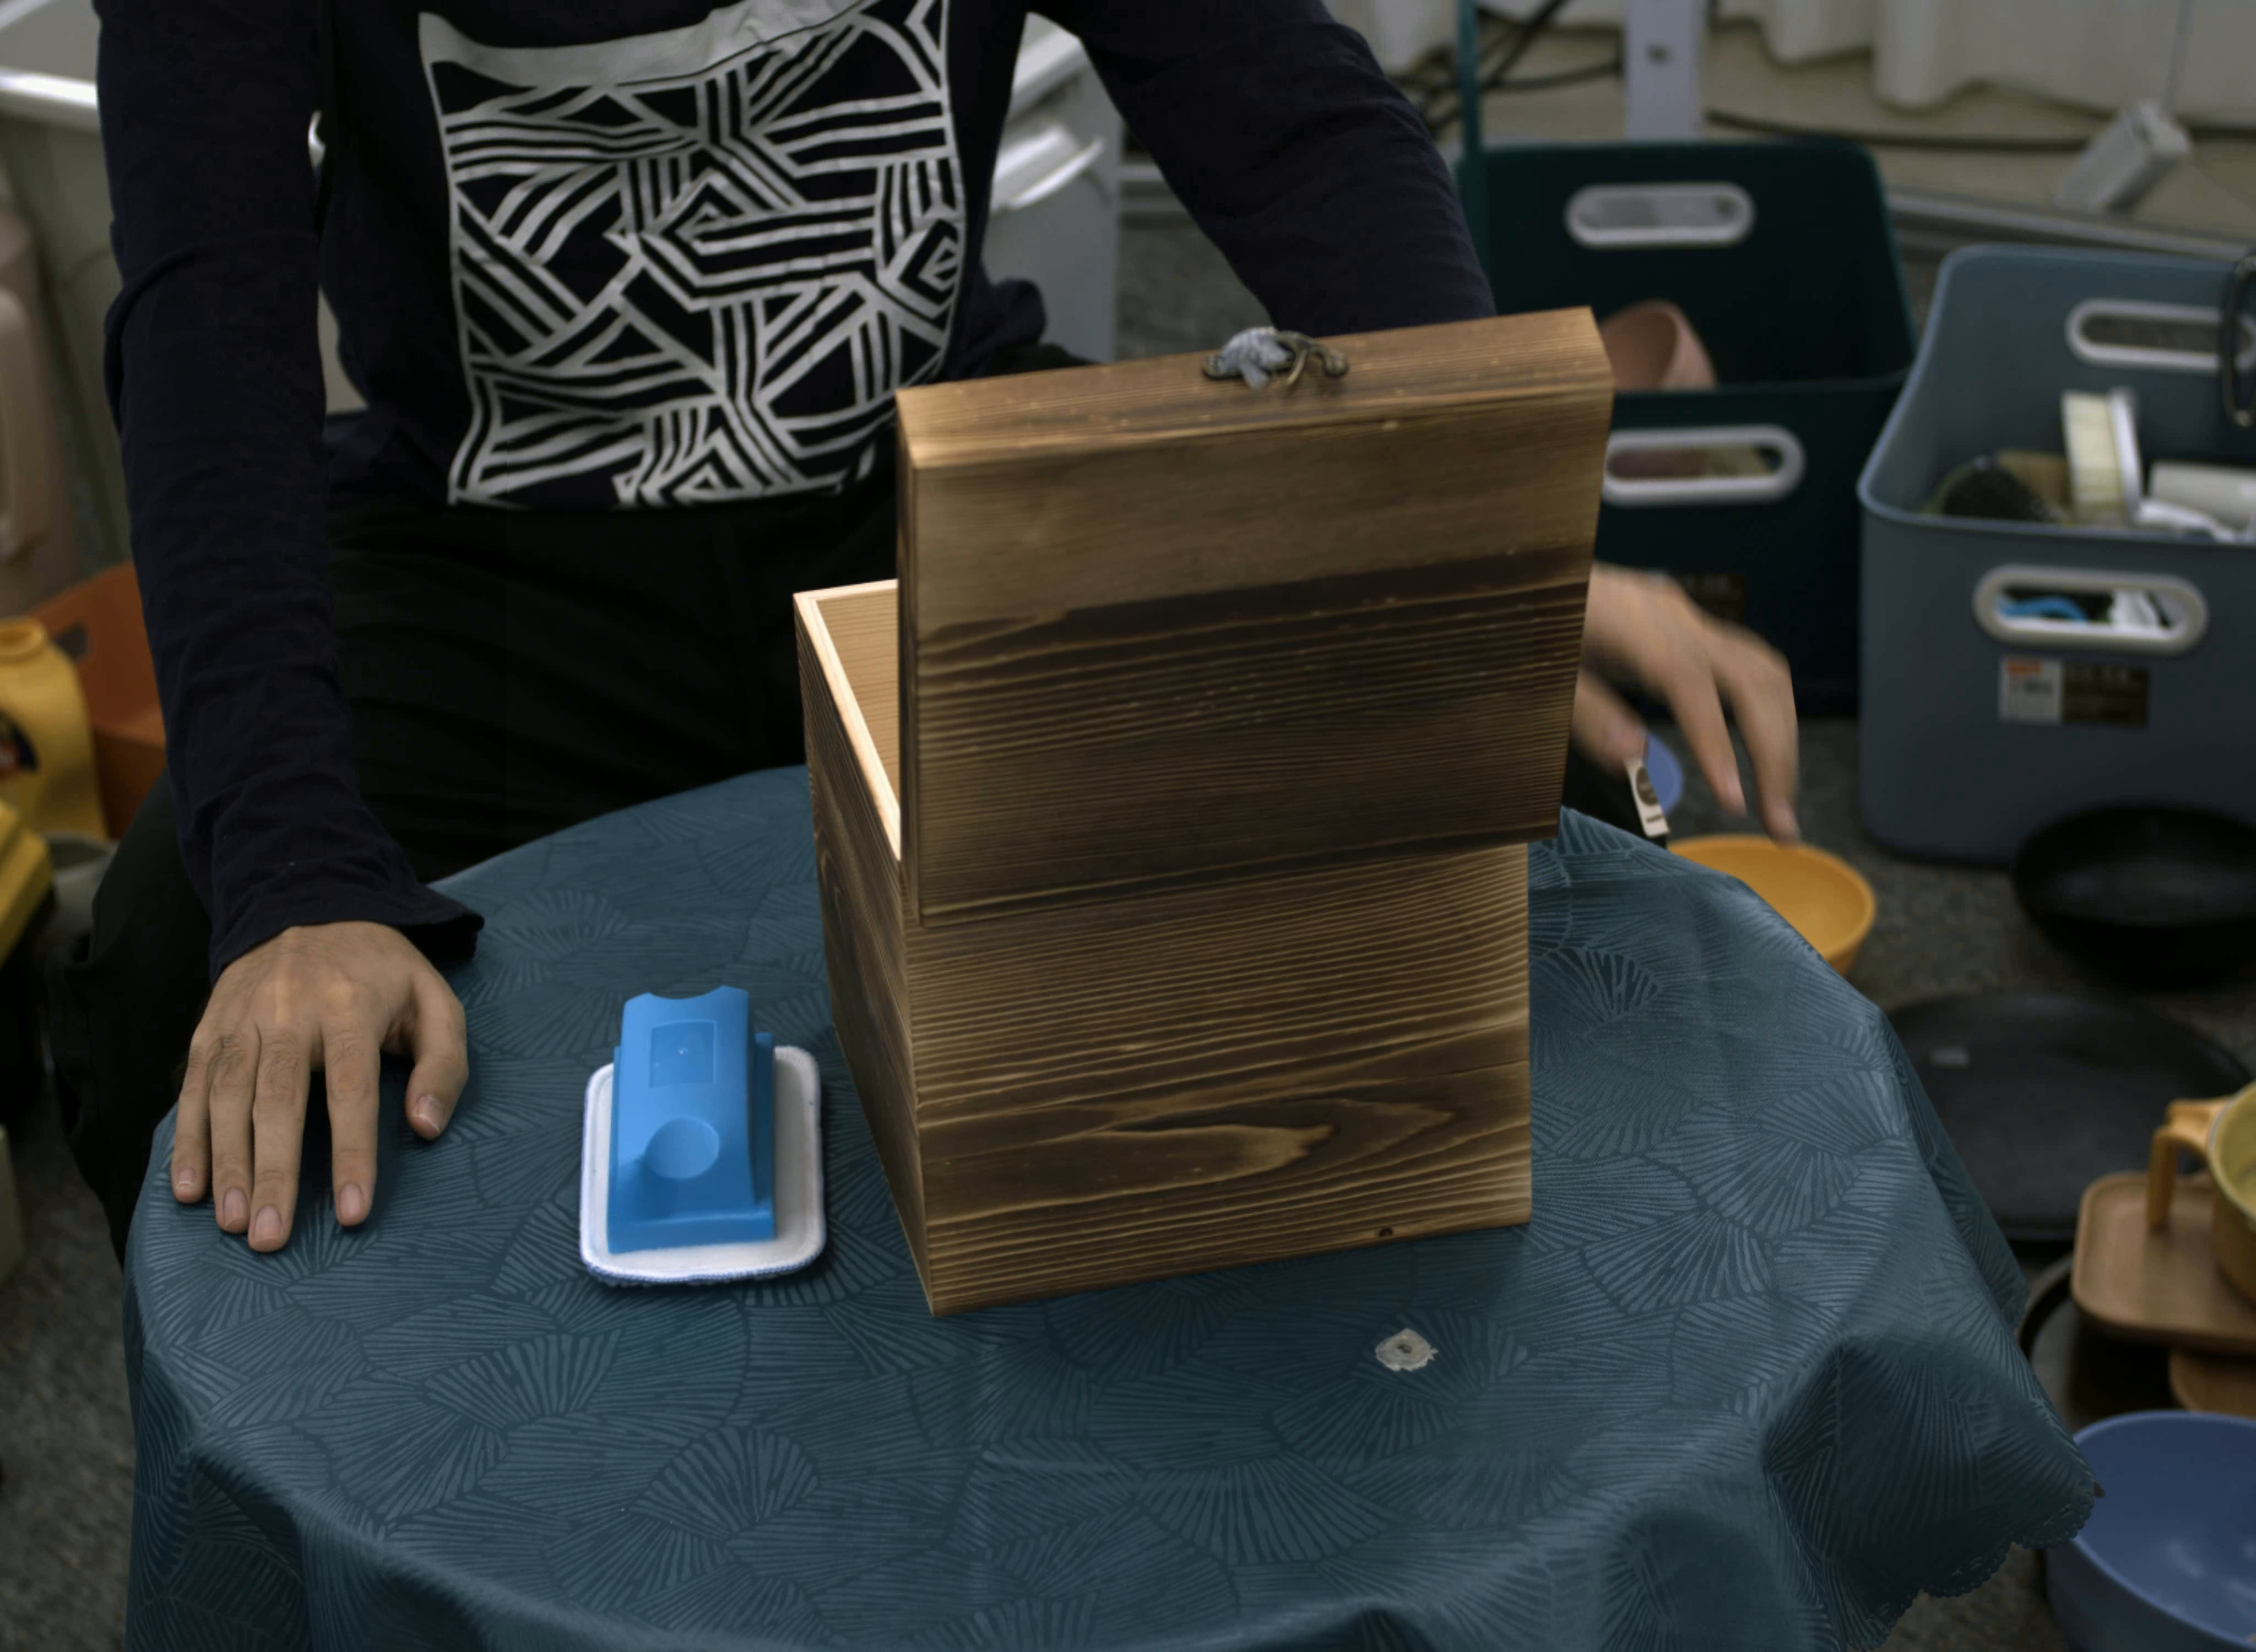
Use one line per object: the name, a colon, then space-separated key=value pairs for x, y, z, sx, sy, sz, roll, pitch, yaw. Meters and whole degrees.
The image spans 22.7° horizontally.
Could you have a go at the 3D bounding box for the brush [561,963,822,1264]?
brush: x=-0.145 y=0.091 z=1.868 sx=0.083 sy=0.055 sz=0.146 roll=0 pitch=29 yaw=-1

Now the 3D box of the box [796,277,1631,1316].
box: x=0.018 y=-0.037 z=1.778 sx=0.208 sy=0.371 sz=0.326 roll=-8 pitch=27 yaw=-10
